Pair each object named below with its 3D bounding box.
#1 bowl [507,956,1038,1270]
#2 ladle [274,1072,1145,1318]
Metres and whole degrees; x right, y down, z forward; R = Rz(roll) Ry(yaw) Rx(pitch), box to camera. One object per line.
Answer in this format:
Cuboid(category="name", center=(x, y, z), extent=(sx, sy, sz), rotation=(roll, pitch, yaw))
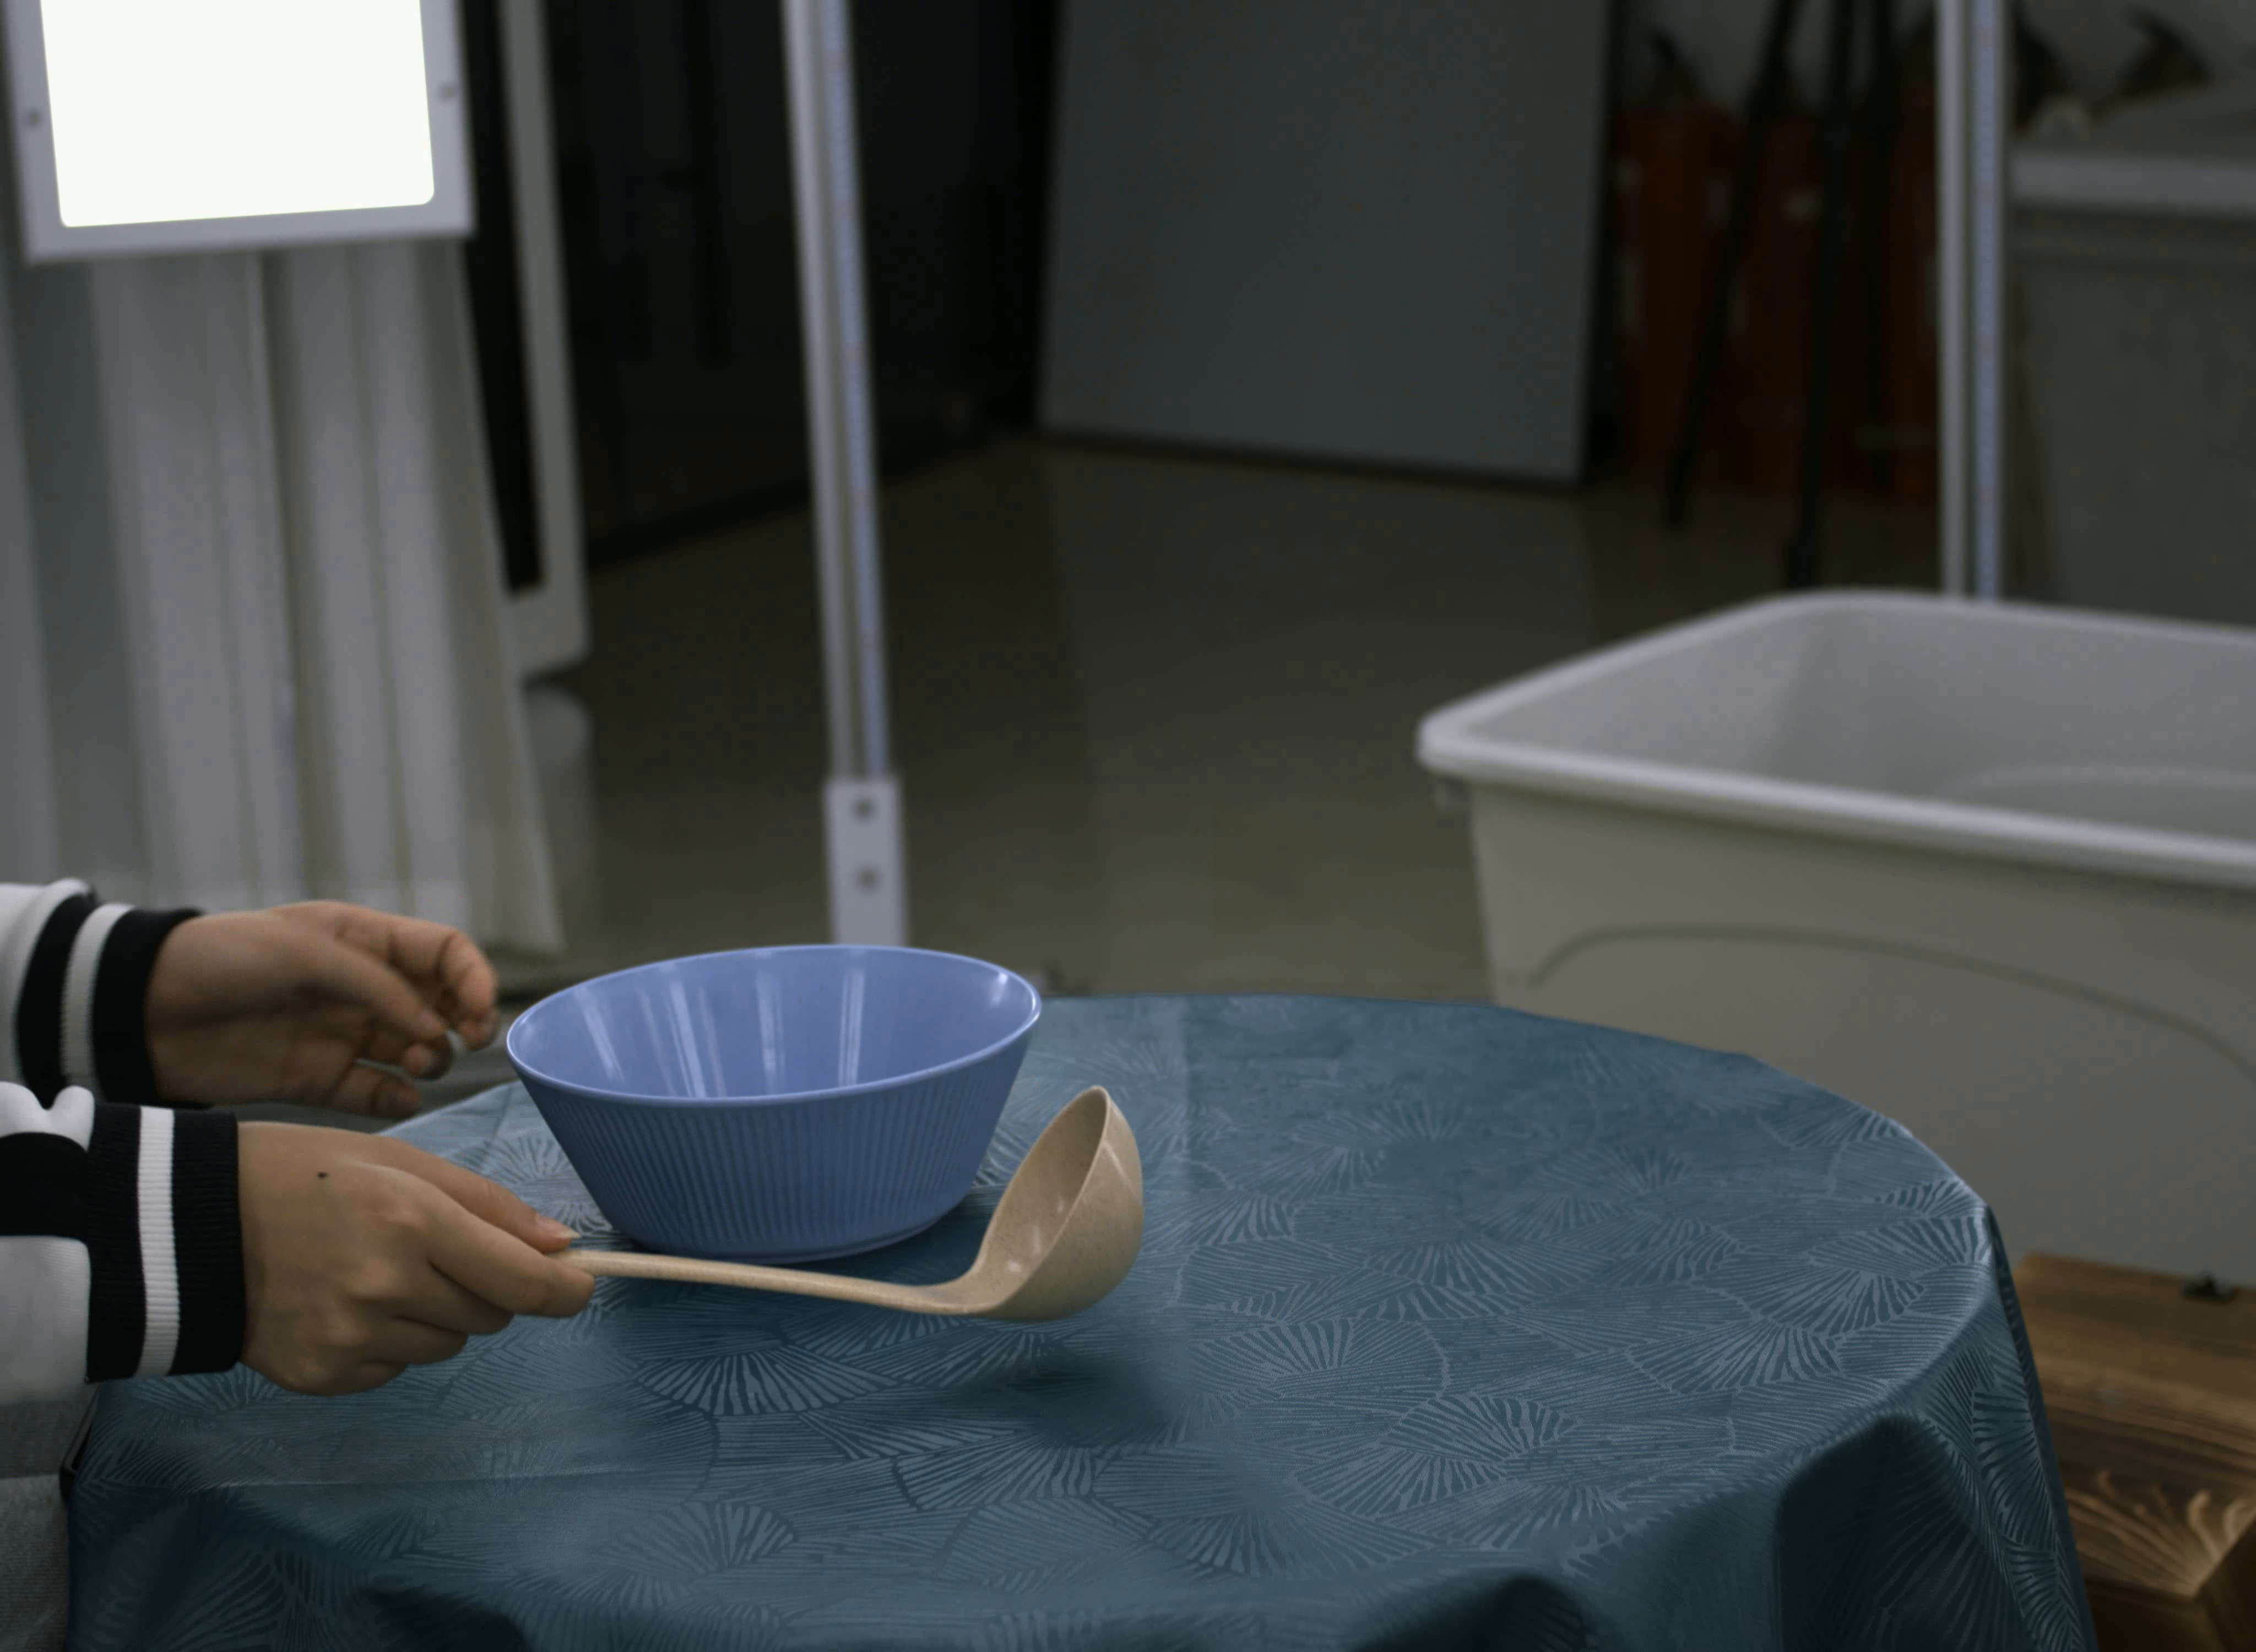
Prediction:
Cuboid(category="bowl", center=(-0.113, 0.096, 1.761), extent=(0.174, 0.071, 0.176), rotation=(-4, 13, 0))
Cuboid(category="ladle", center=(-0.119, 0.104, 1.574), extent=(0.249, 0.074, 0.072), rotation=(3, 10, -13))
